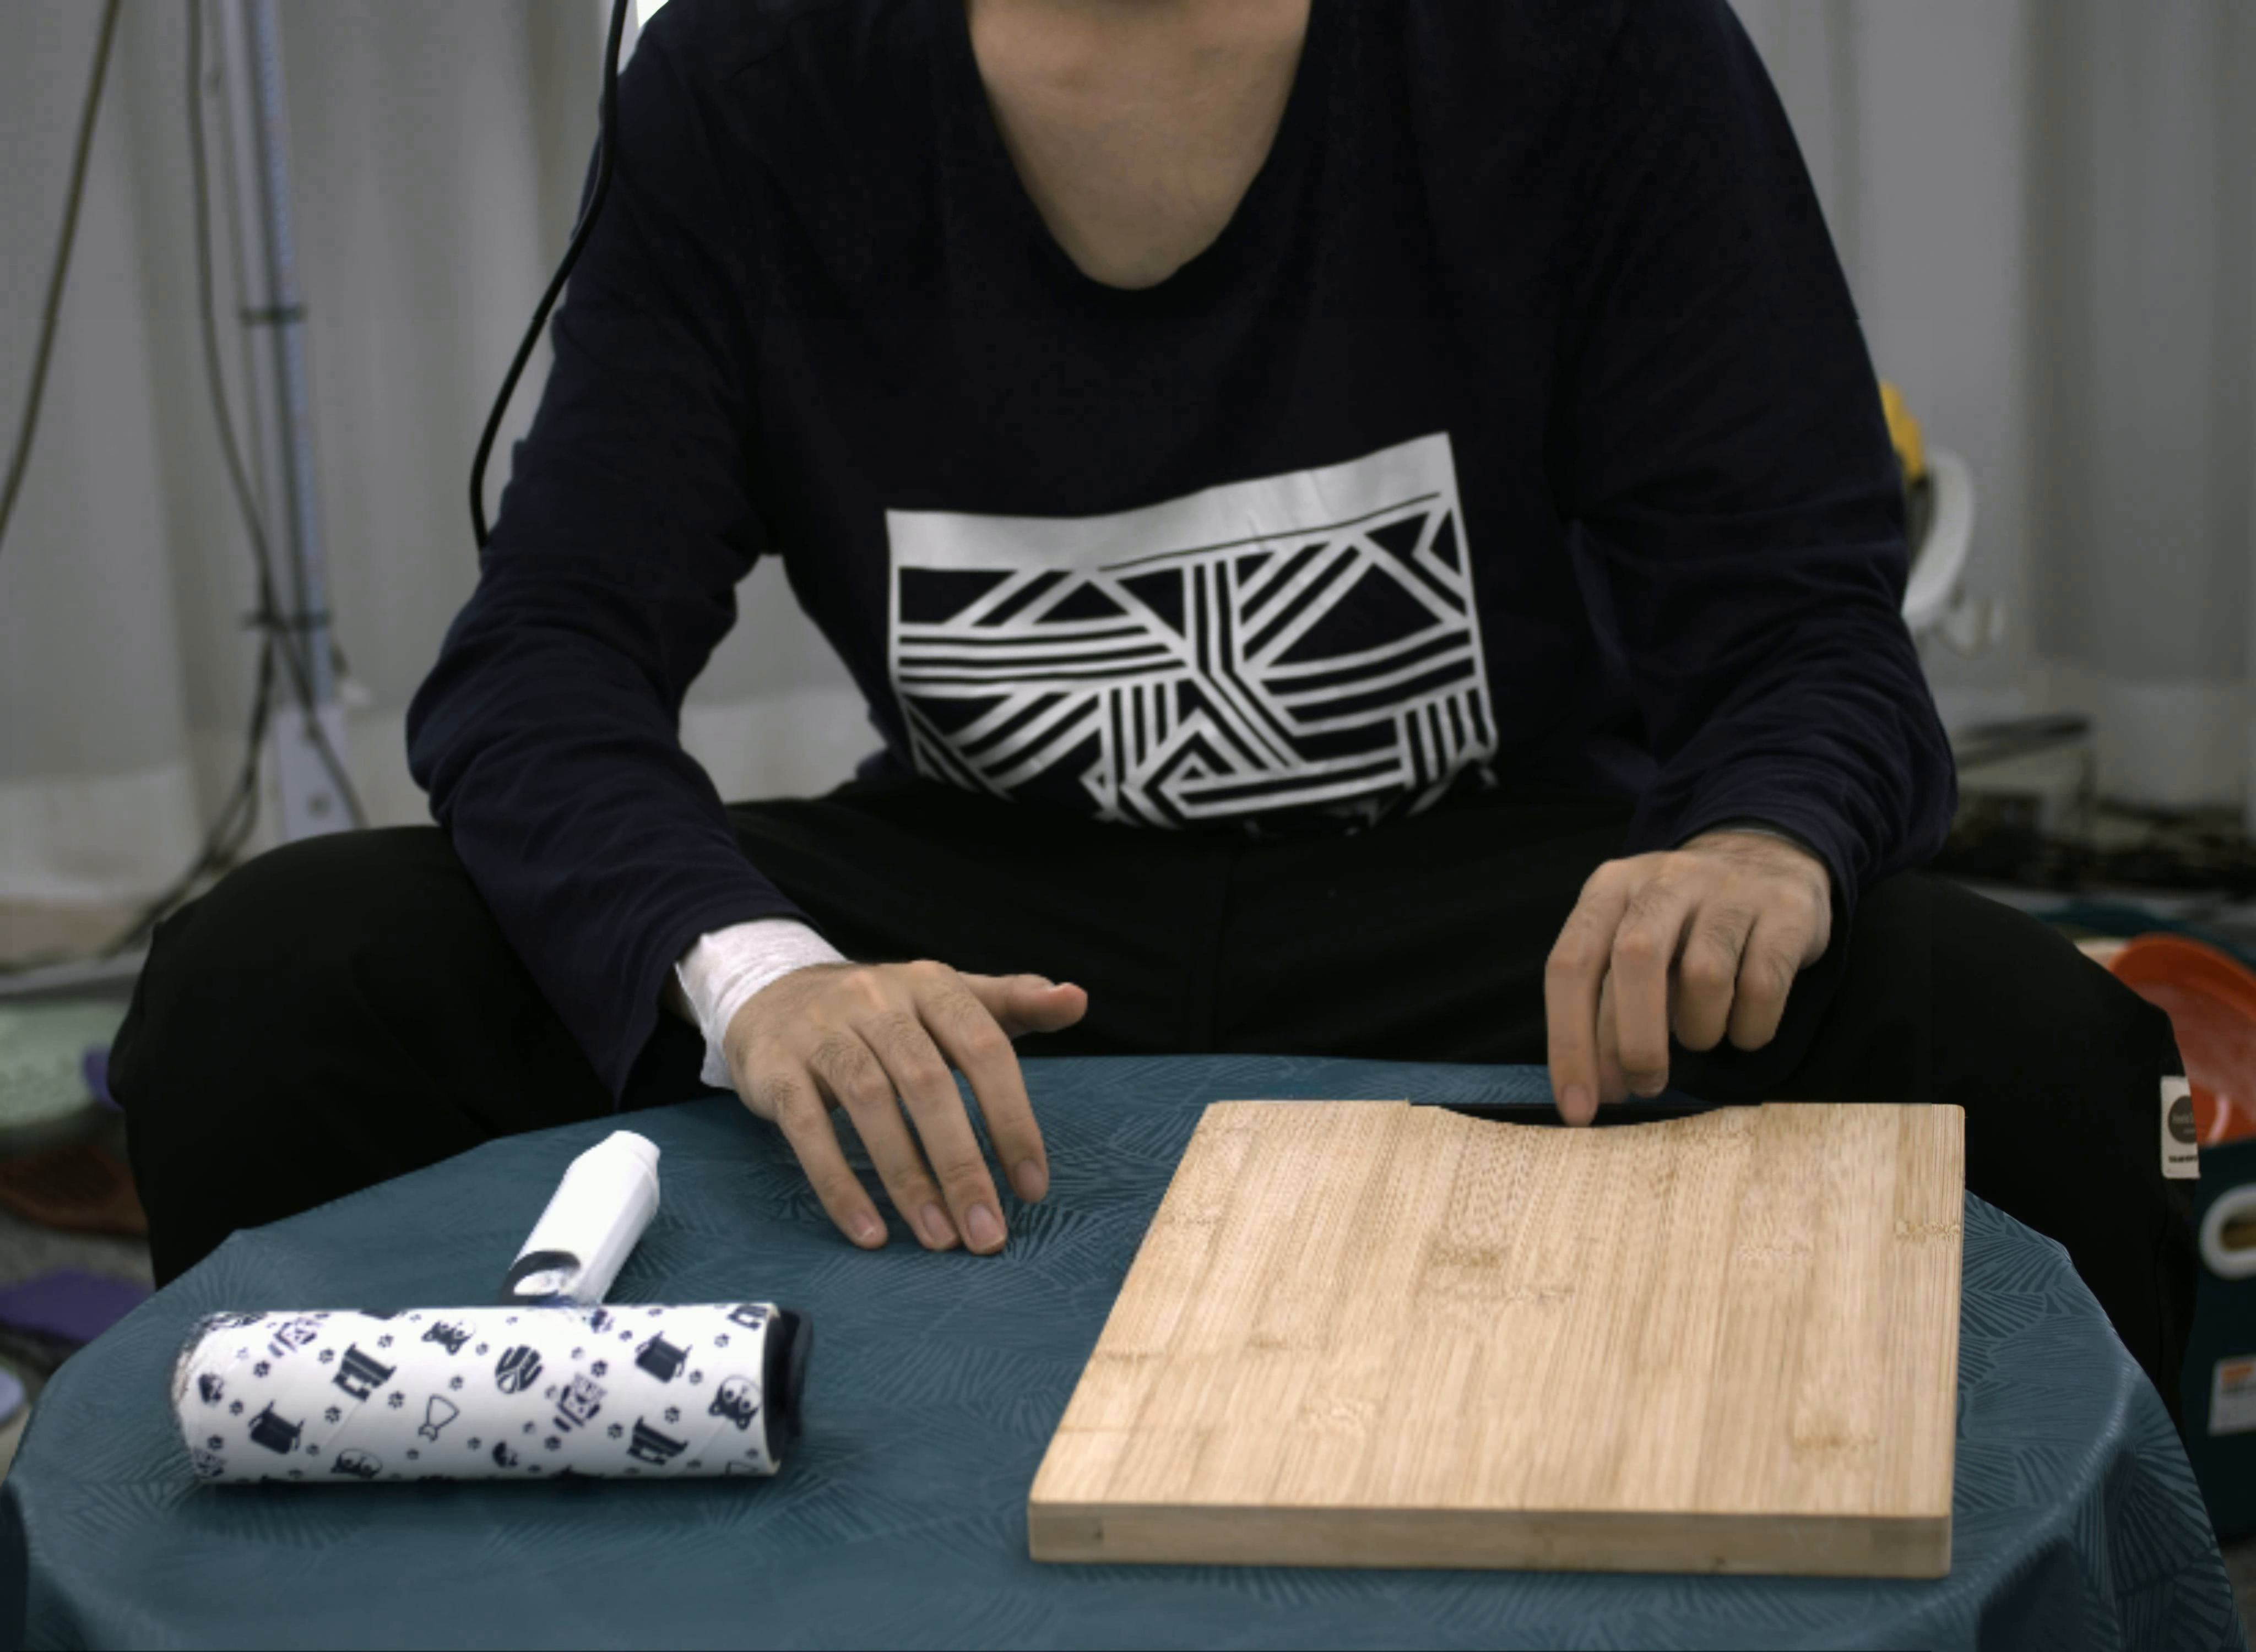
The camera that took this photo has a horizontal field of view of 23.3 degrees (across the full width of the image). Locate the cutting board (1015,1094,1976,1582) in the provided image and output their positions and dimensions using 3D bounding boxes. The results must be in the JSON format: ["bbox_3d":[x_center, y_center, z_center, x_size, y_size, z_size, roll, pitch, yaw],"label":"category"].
[{"bbox_3d":[0.118,0.140,1.571,0.250,0.023,0.350,0,15,9],"label":"cutting board"}]

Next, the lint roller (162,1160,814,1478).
[{"bbox_3d":[-0.170,0.133,1.602,0.176,0.050,0.248,-3,12,4],"label":"lint roller"}]
